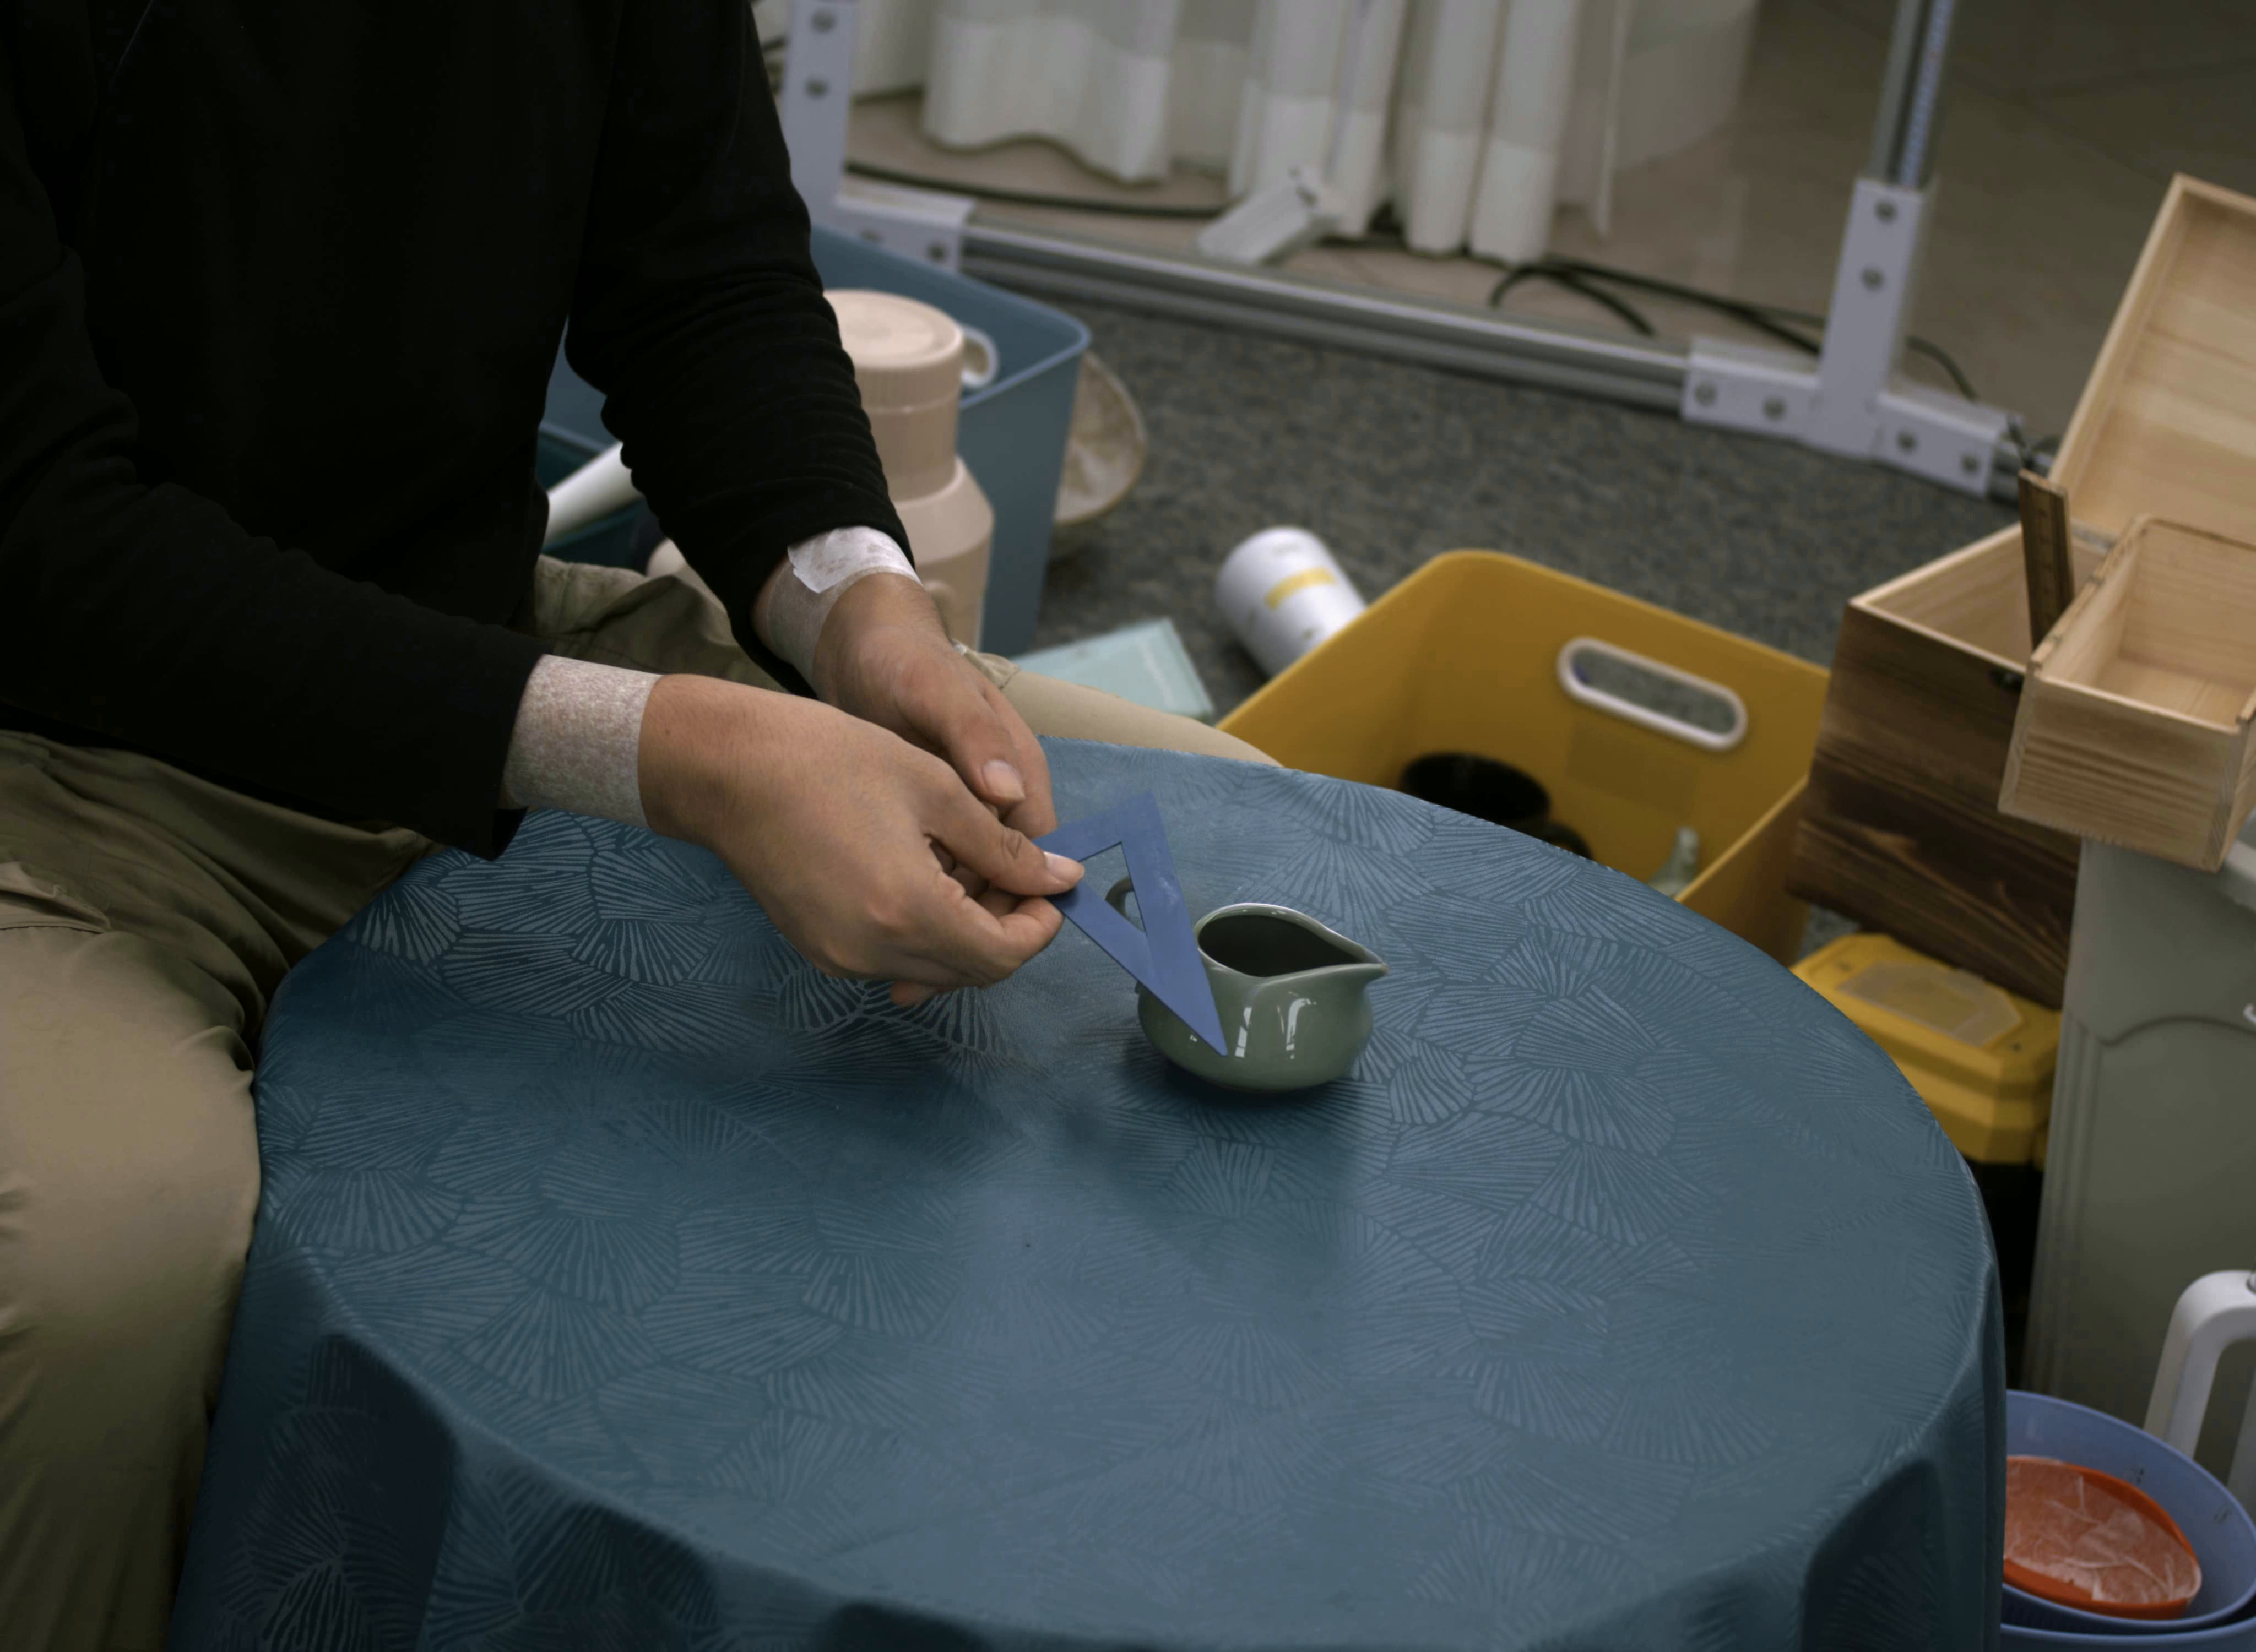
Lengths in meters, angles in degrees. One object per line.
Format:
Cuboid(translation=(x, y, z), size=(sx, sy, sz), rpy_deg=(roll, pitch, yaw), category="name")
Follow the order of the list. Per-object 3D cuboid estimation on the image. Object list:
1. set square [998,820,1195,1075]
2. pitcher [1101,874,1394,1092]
Cuboid(translation=(-0.012, 0.039, 1.830), size=(0.061, 0.006, 0.133), rpy_deg=(3, 40, -11), category="set square")
Cuboid(translation=(0.040, 0.055, 1.883), size=(0.113, 0.056, 0.084), rpy_deg=(19, 27, 23), category="pitcher")
